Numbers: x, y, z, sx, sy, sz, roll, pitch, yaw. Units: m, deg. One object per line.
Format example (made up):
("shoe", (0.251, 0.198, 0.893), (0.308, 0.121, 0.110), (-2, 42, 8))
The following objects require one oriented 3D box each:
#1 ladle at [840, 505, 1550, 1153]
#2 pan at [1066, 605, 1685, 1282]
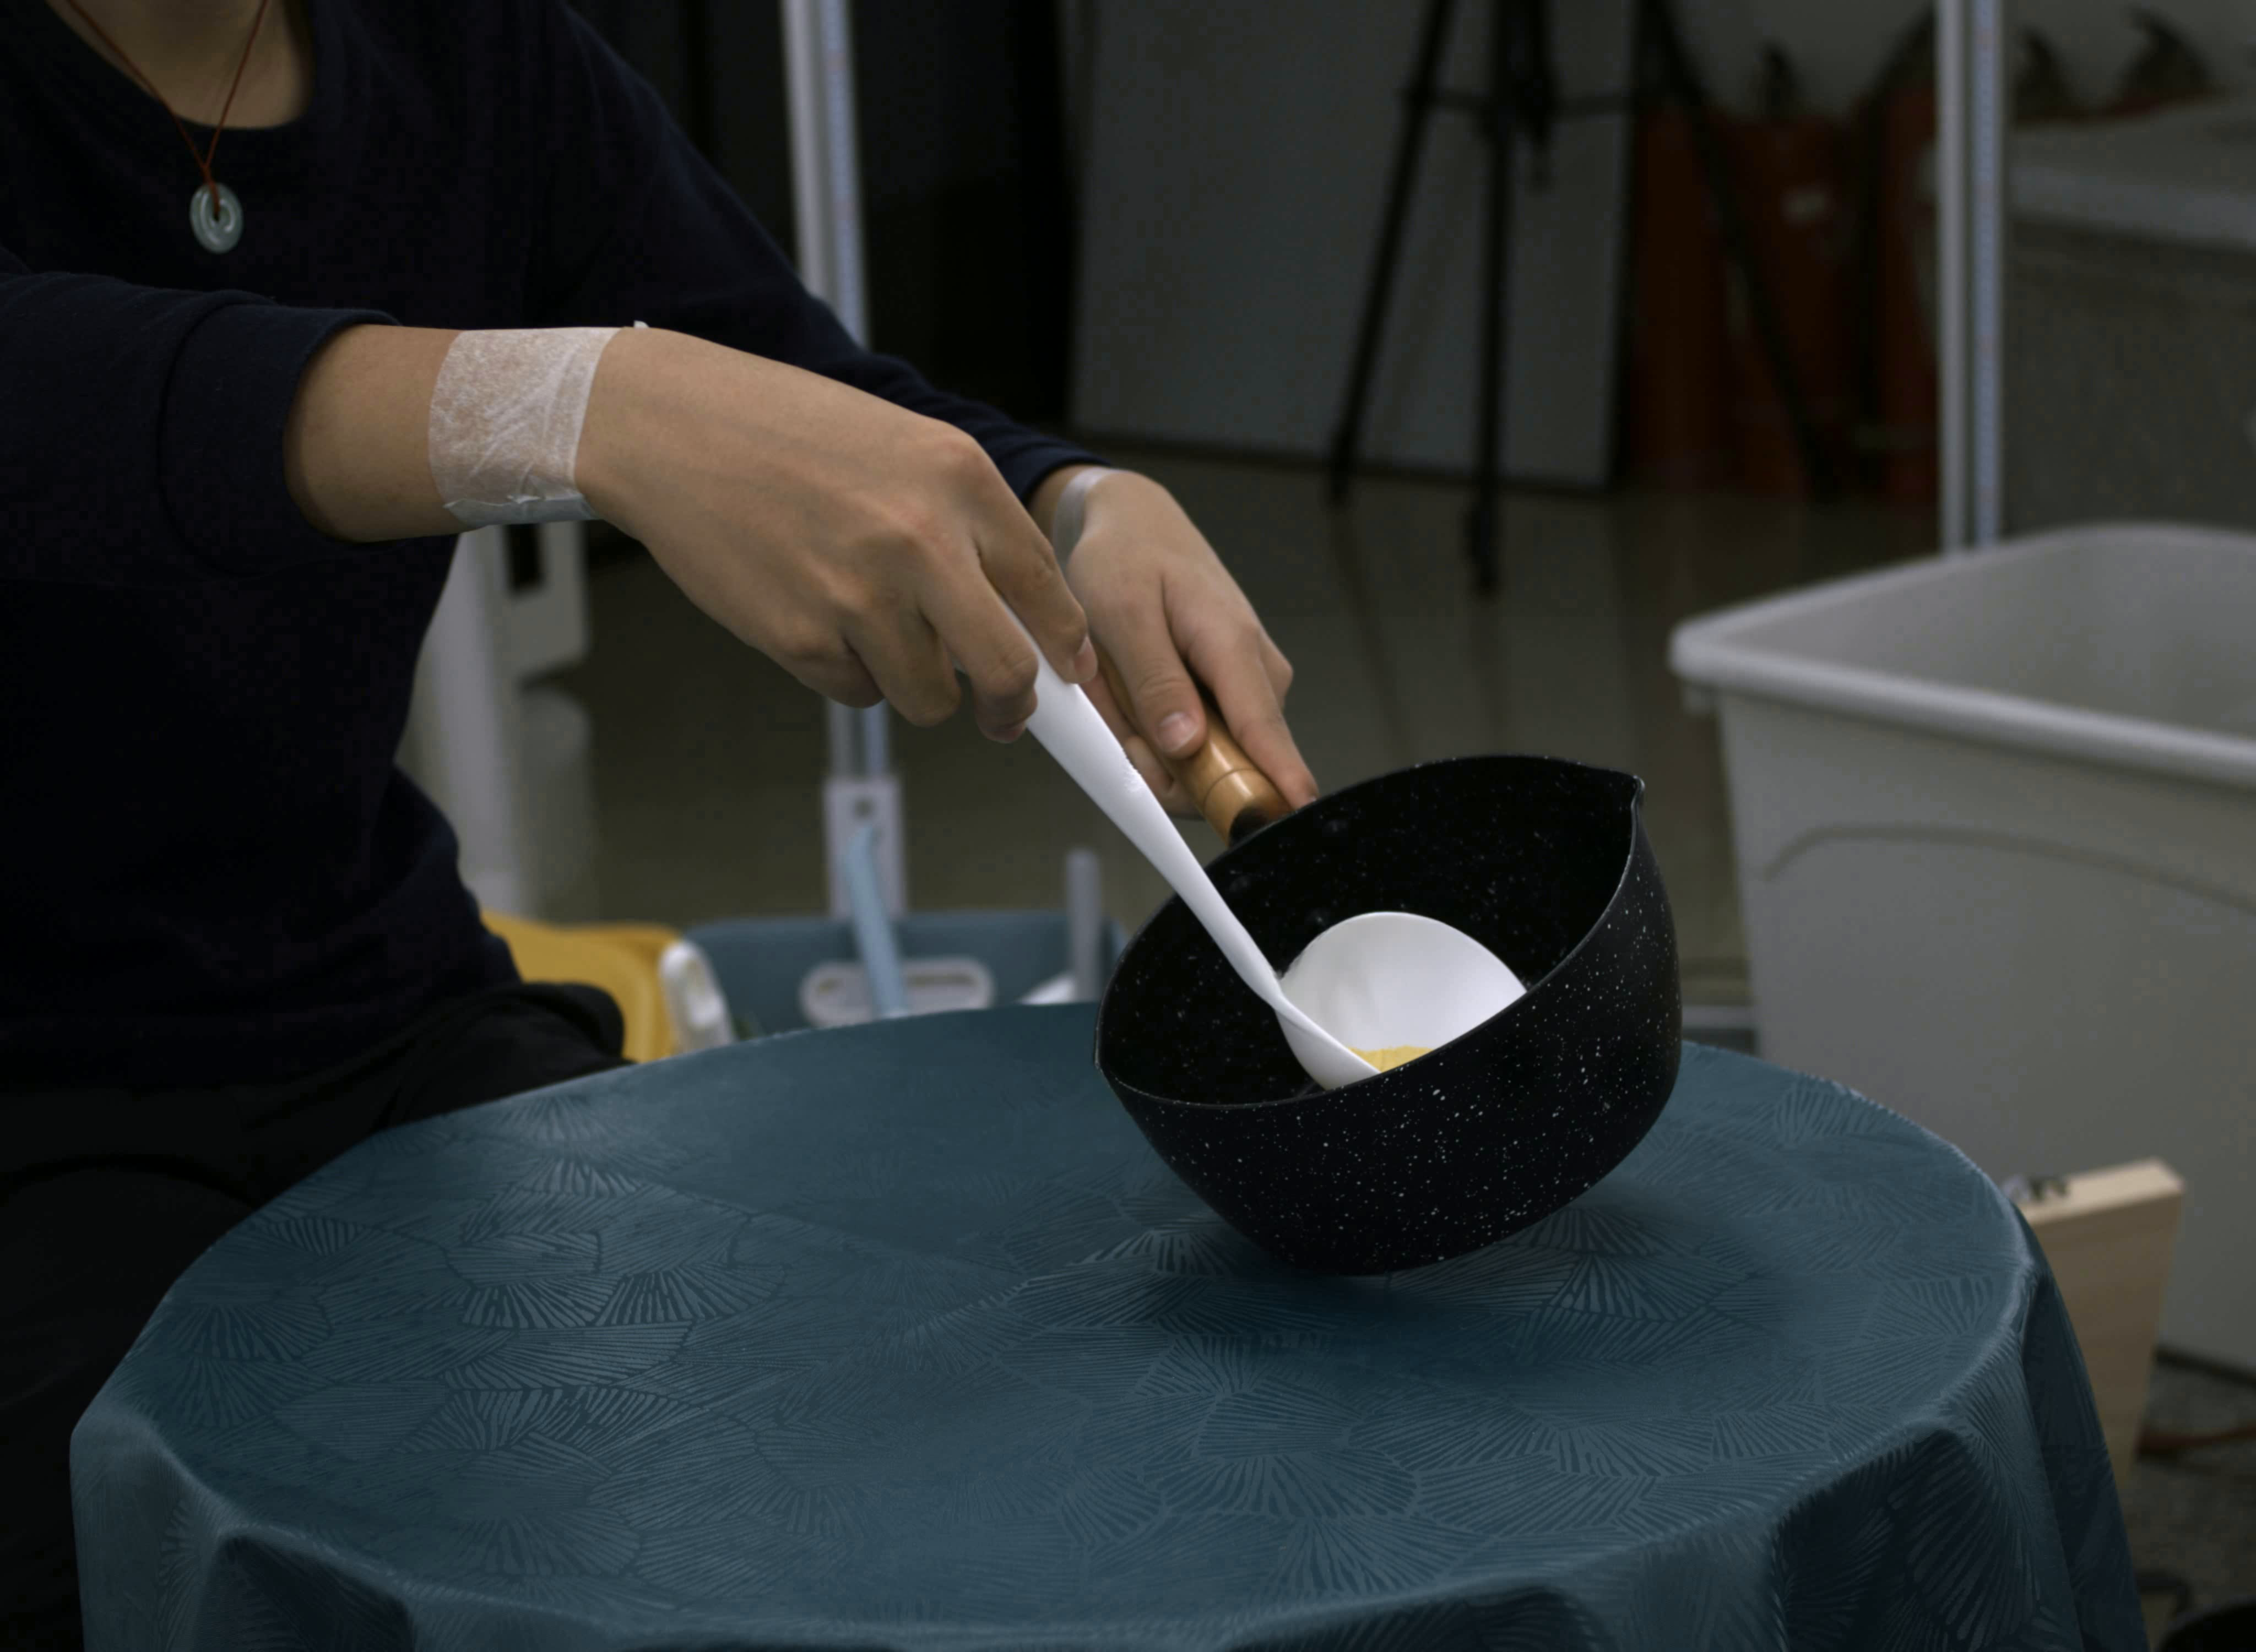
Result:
("ladle", (0.026, 0.000, 1.570), (0.070, 0.290, 0.091), (-25, 41, 22))
("pan", (0.060, 0.027, 1.764), (0.205, 0.108, 0.346), (-31, 27, -6))
